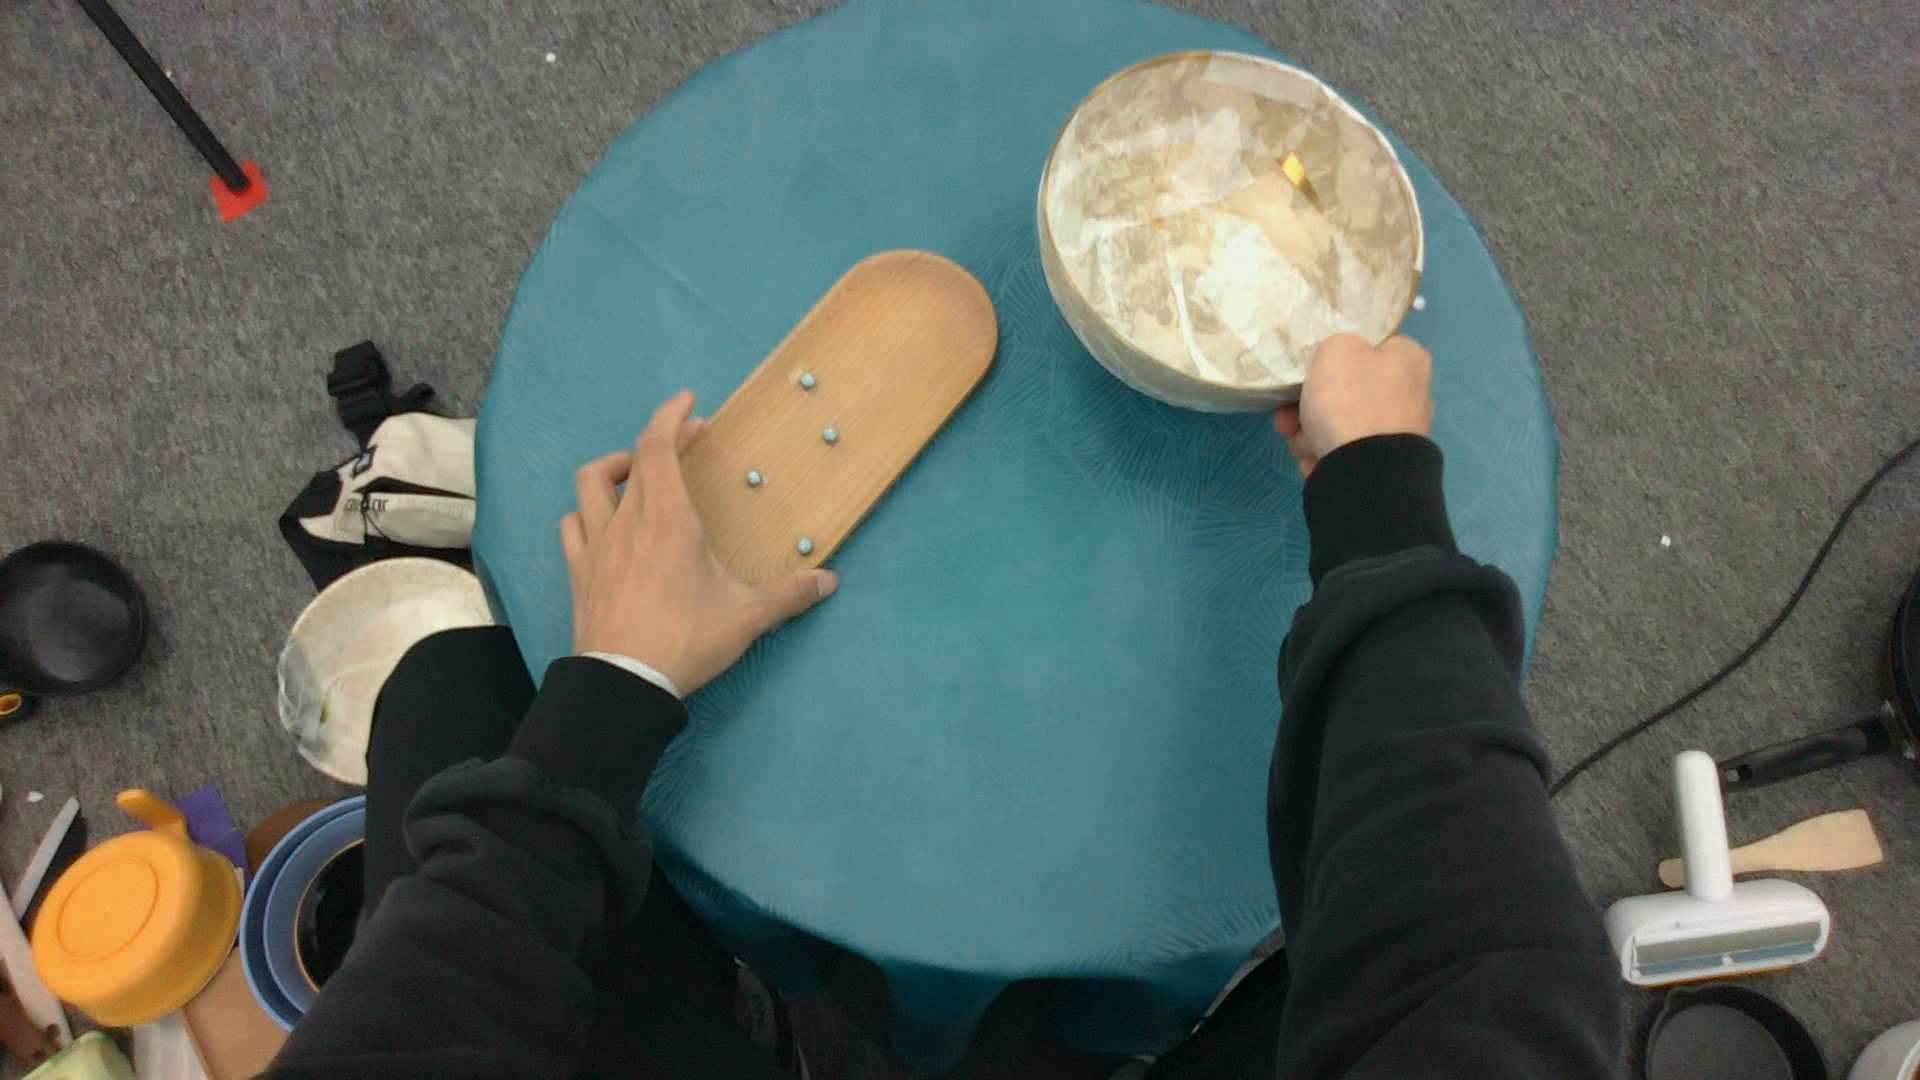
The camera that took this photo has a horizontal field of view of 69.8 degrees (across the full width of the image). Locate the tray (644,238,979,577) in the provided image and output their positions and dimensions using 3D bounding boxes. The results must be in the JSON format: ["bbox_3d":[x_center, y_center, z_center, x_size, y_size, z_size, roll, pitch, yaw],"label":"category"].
[{"bbox_3d":[-0.079,-0.076,0.764,0.102,0.020,0.232,36,70,7],"label":"tray"}]

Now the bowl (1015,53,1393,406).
[{"bbox_3d":[0.118,-0.154,0.750,0.215,0.094,0.215,4,69,-10],"label":"bowl"}]
